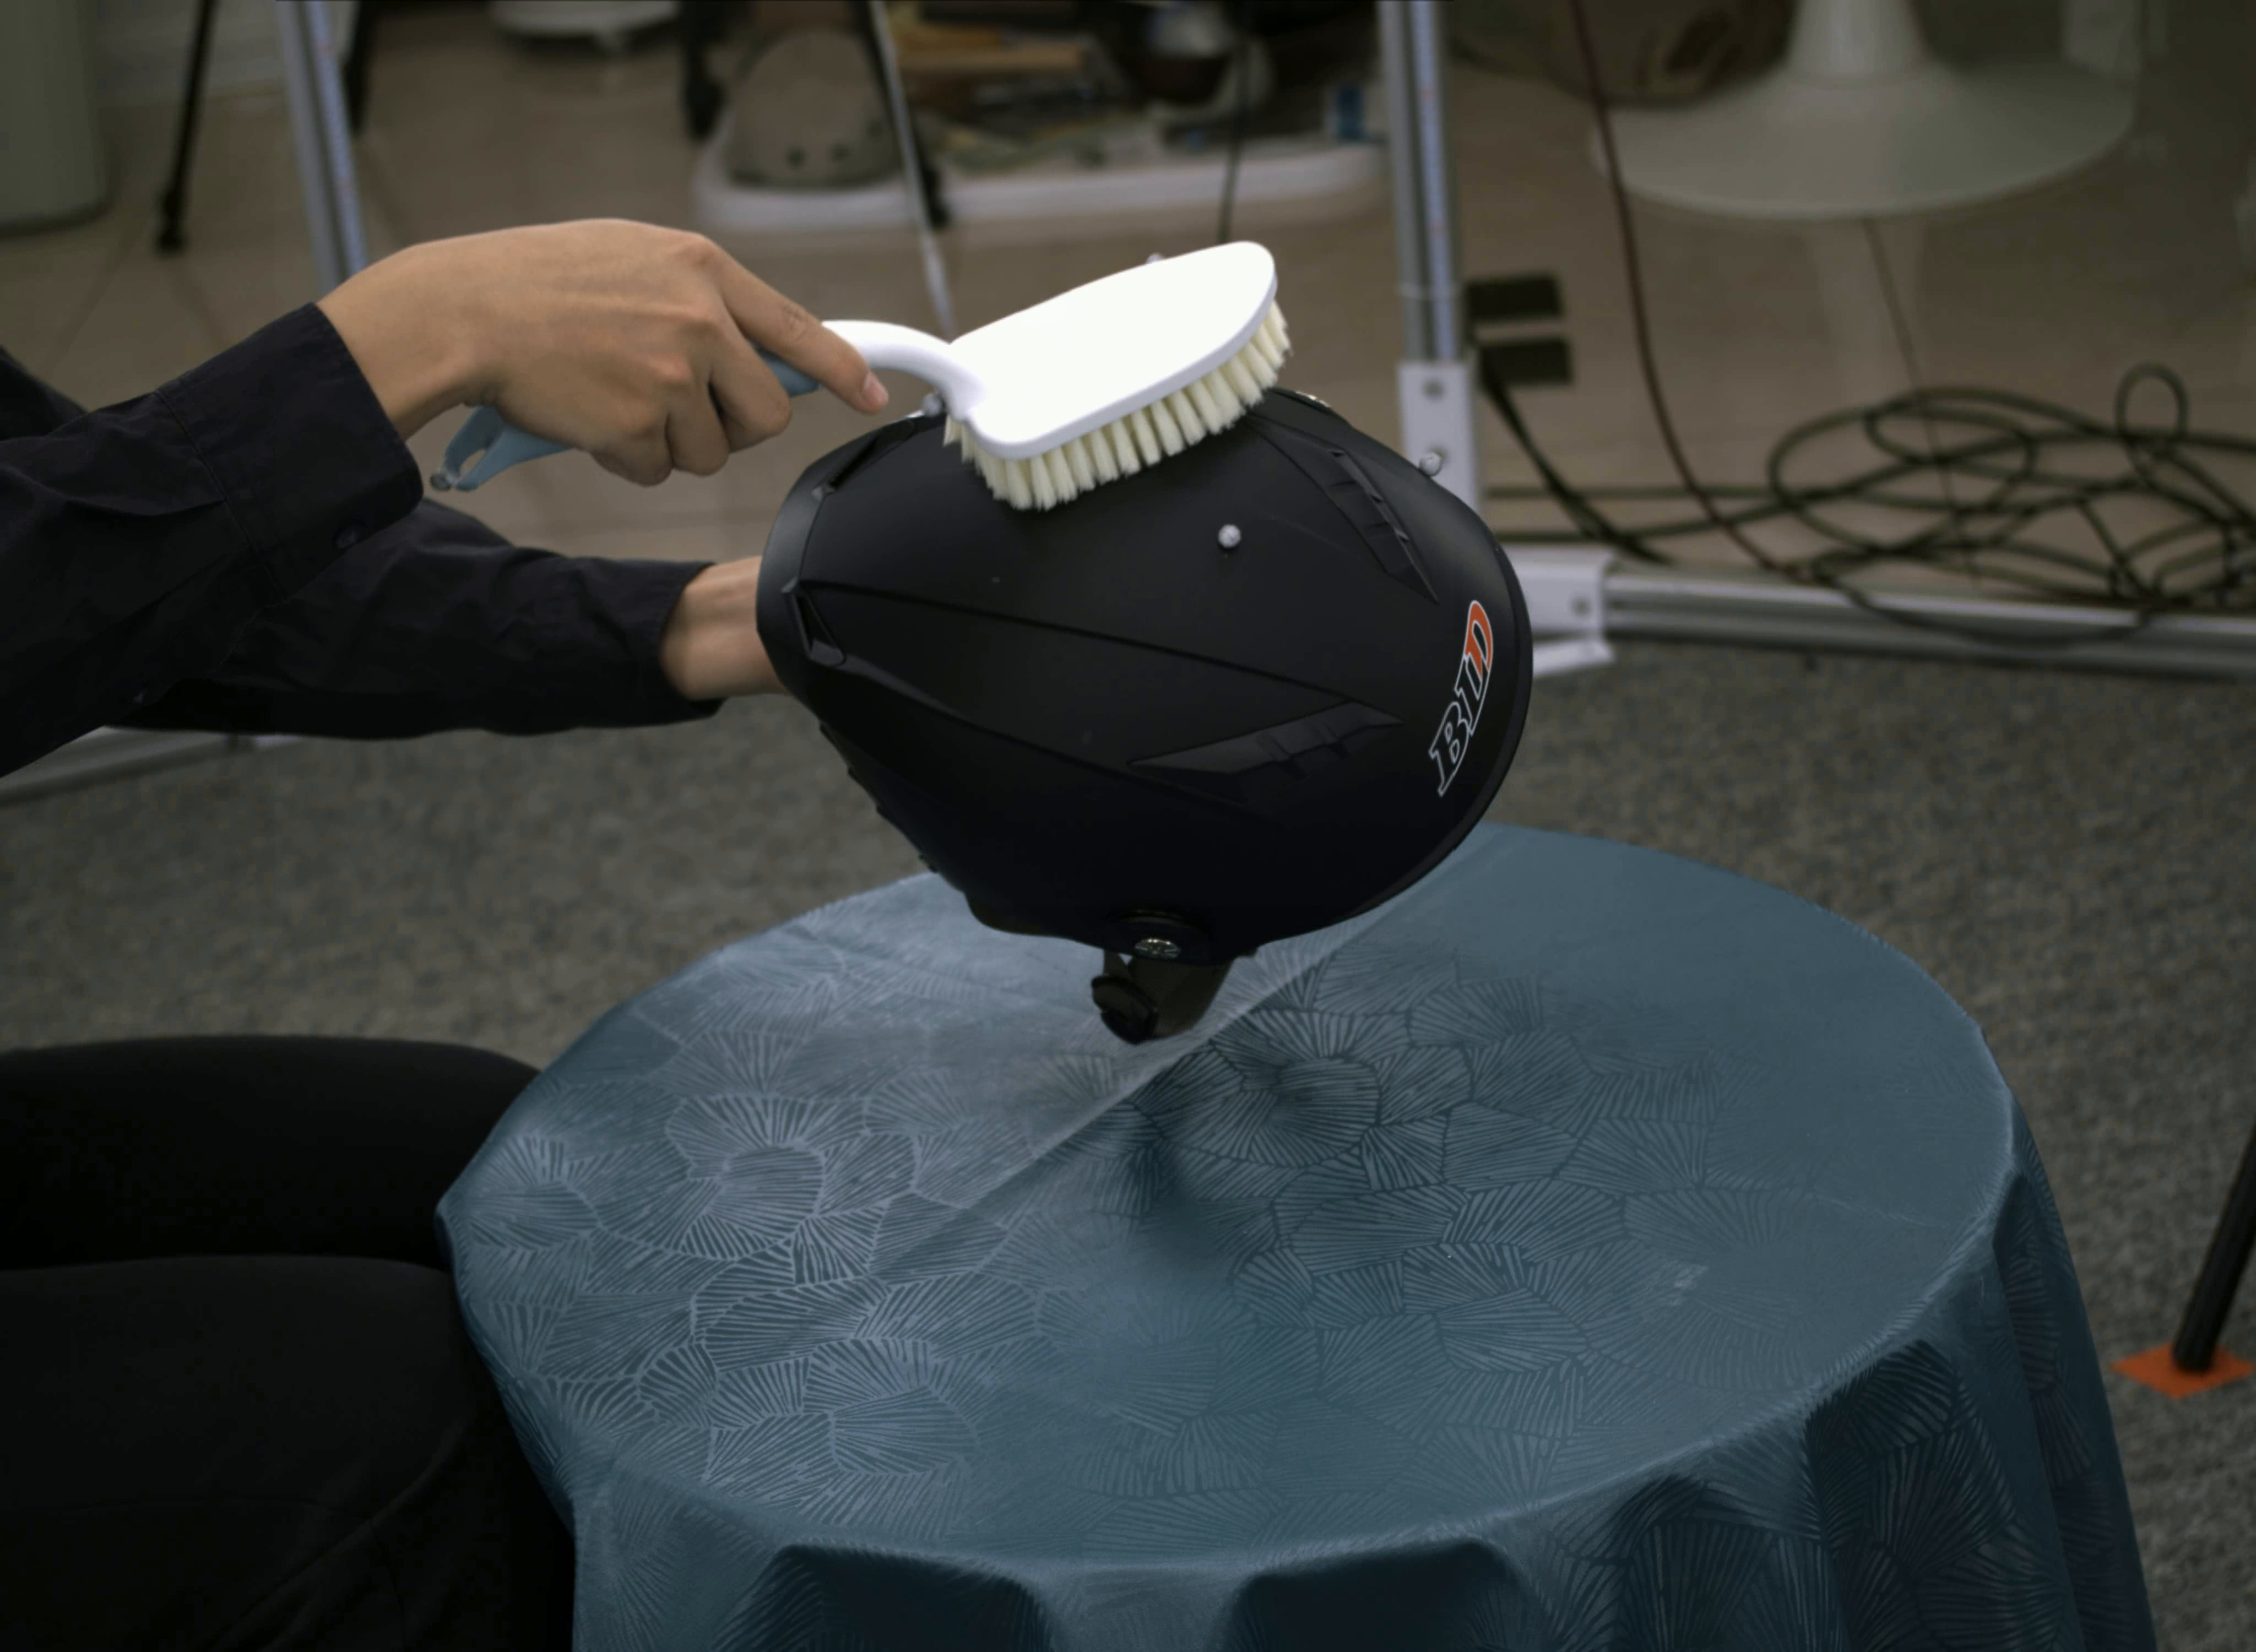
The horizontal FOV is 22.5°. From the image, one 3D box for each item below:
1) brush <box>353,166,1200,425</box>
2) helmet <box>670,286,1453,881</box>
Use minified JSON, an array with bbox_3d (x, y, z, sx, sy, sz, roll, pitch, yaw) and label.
[{"bbox_3d":[-0.126,-0.175,2.052,0.324,0.085,0.083,-15,7,-19],"label":"brush"},{"bbox_3d":[-0.029,-0.111,2.144,0.275,0.174,0.245,10,76,26],"label":"helmet"}]
